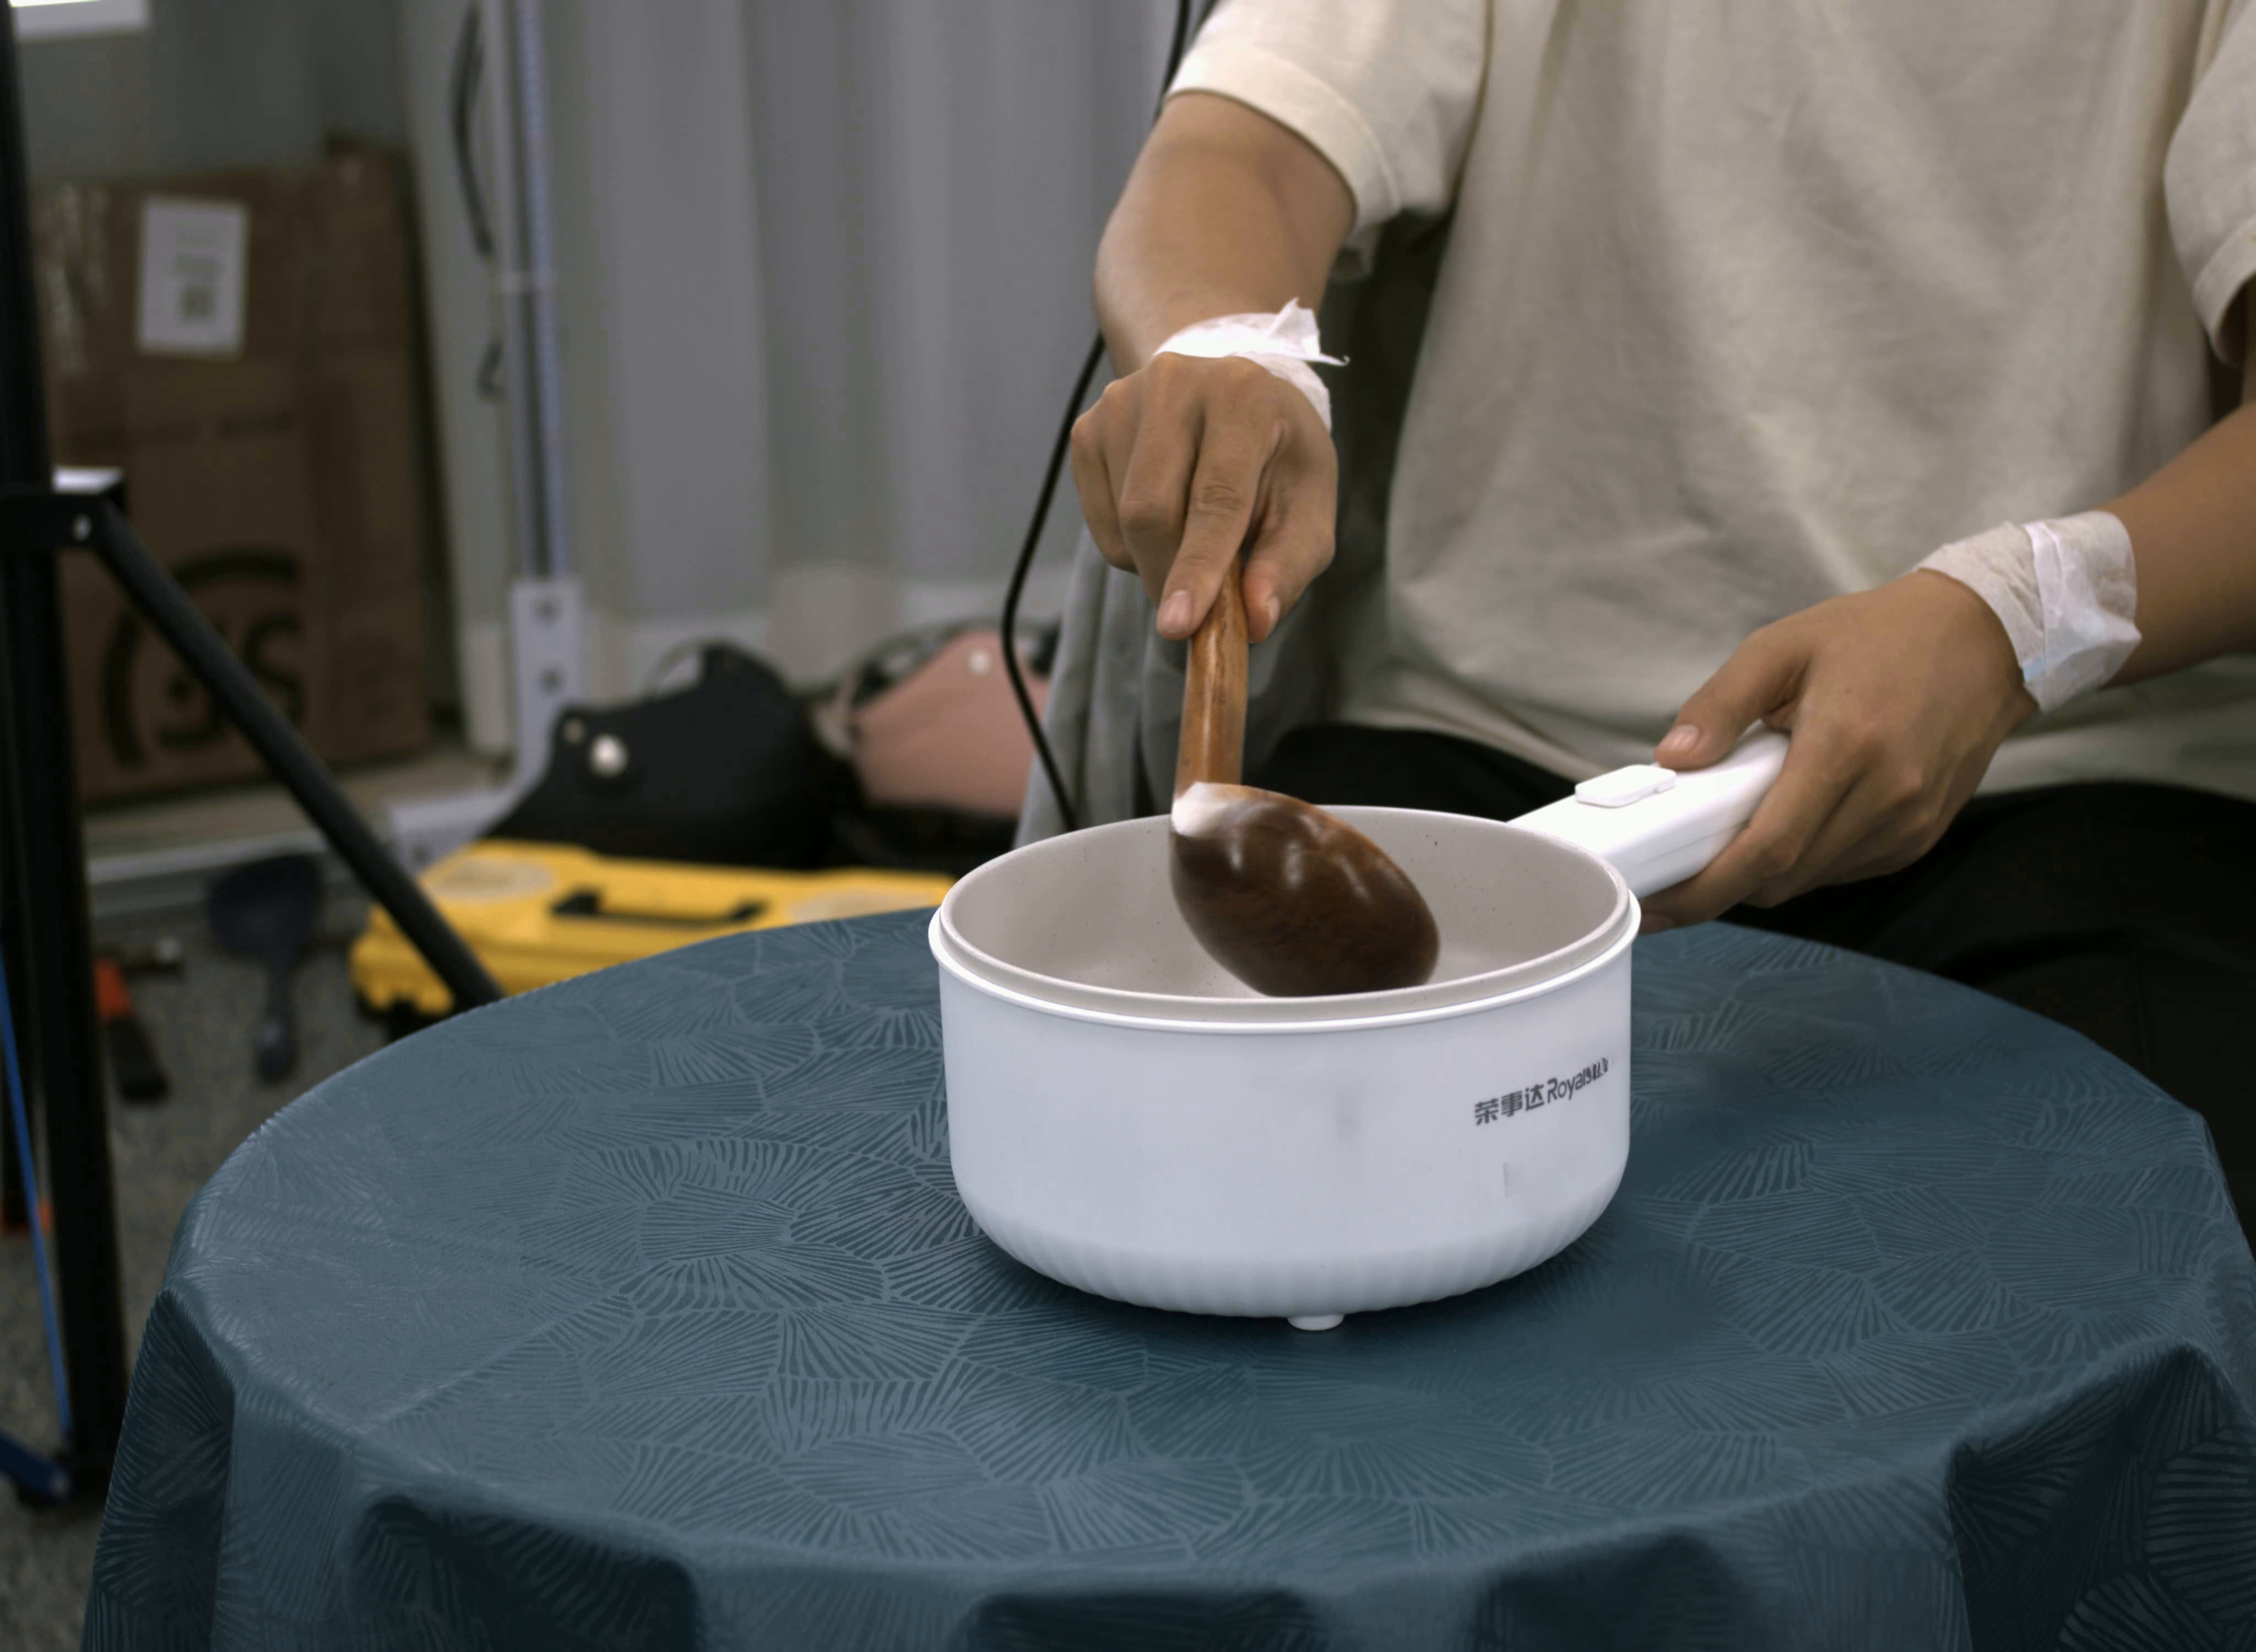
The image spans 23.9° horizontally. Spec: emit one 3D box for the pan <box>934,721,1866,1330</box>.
[{"bbox_3d":[0.098,0.052,1.557,0.206,0.102,0.347,11,20,42],"label":"pan"}]

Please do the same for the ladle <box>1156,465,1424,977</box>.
[{"bbox_3d":[0.047,-0.041,1.526,0.077,0.081,0.276,-19,31,15],"label":"ladle"}]
